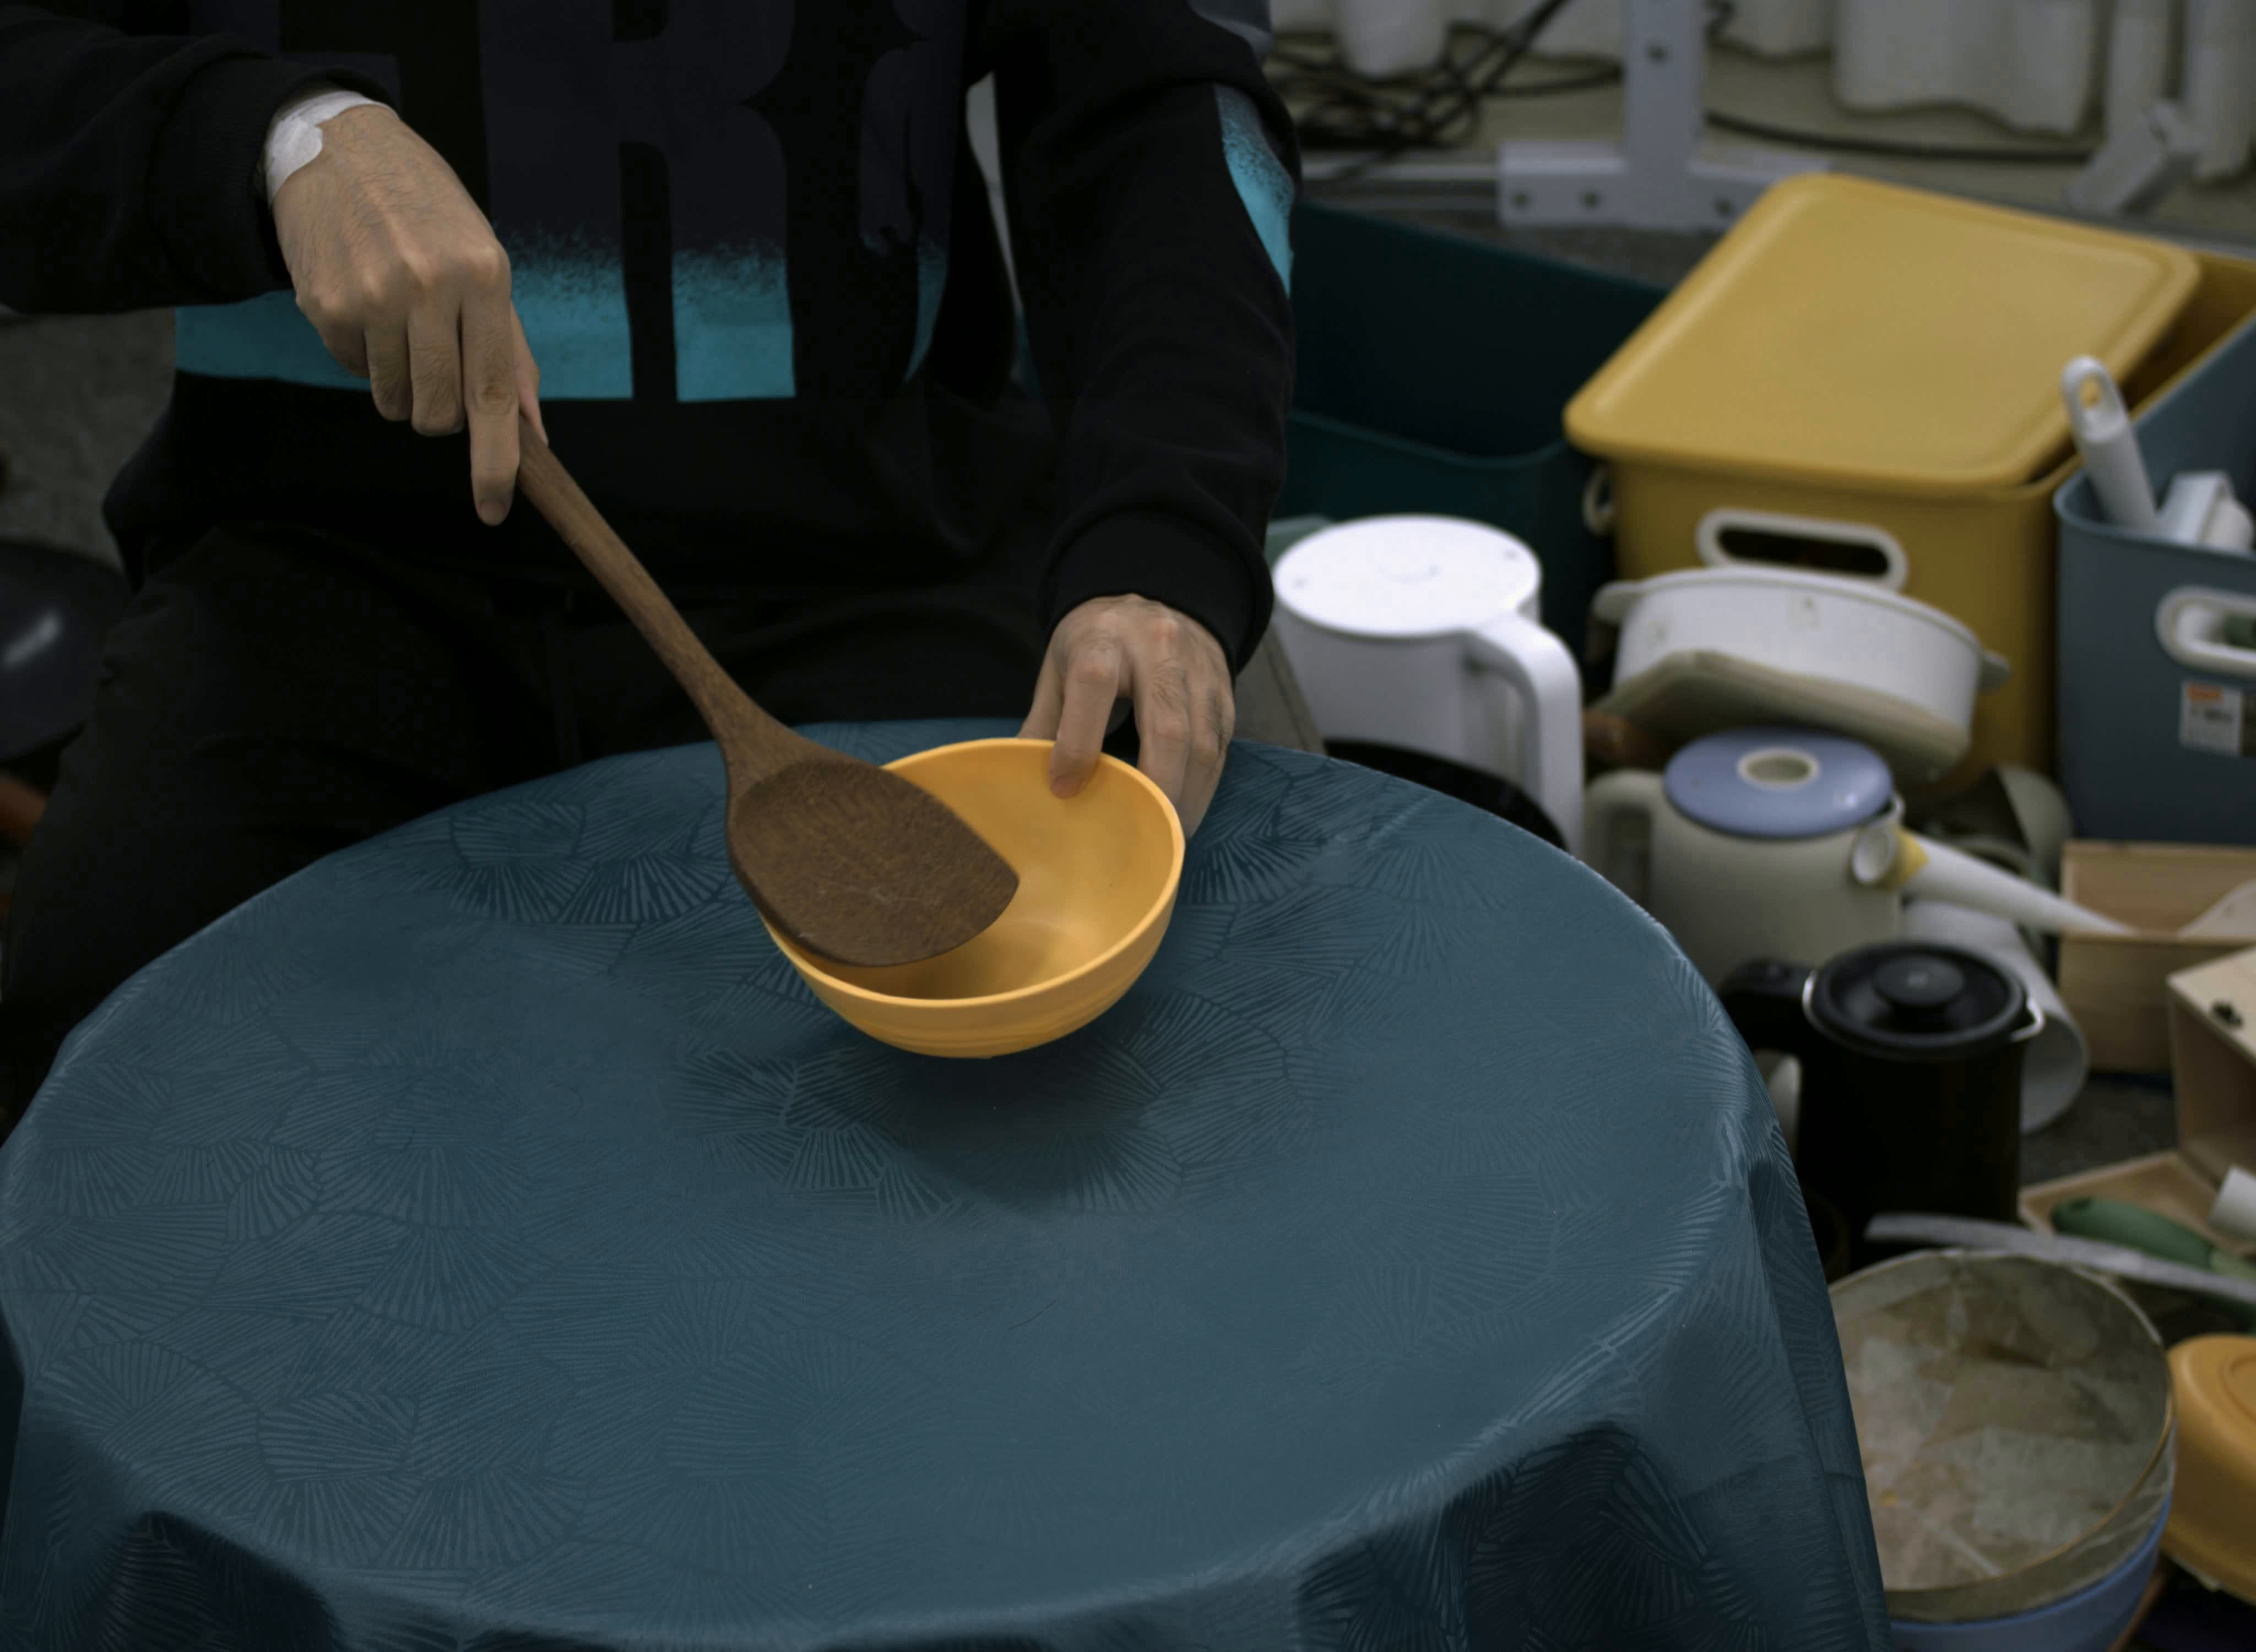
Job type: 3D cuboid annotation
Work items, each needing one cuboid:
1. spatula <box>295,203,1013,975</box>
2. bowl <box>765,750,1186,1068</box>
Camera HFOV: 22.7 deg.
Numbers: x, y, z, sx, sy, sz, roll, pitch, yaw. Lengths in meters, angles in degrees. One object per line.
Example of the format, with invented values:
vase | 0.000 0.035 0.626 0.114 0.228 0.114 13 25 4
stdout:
spatula | -0.181 -0.090 1.977 0.097 0.015 0.388 -20 61 -41
bowl | -0.049 0.040 1.930 0.144 0.059 0.148 -4 36 3
